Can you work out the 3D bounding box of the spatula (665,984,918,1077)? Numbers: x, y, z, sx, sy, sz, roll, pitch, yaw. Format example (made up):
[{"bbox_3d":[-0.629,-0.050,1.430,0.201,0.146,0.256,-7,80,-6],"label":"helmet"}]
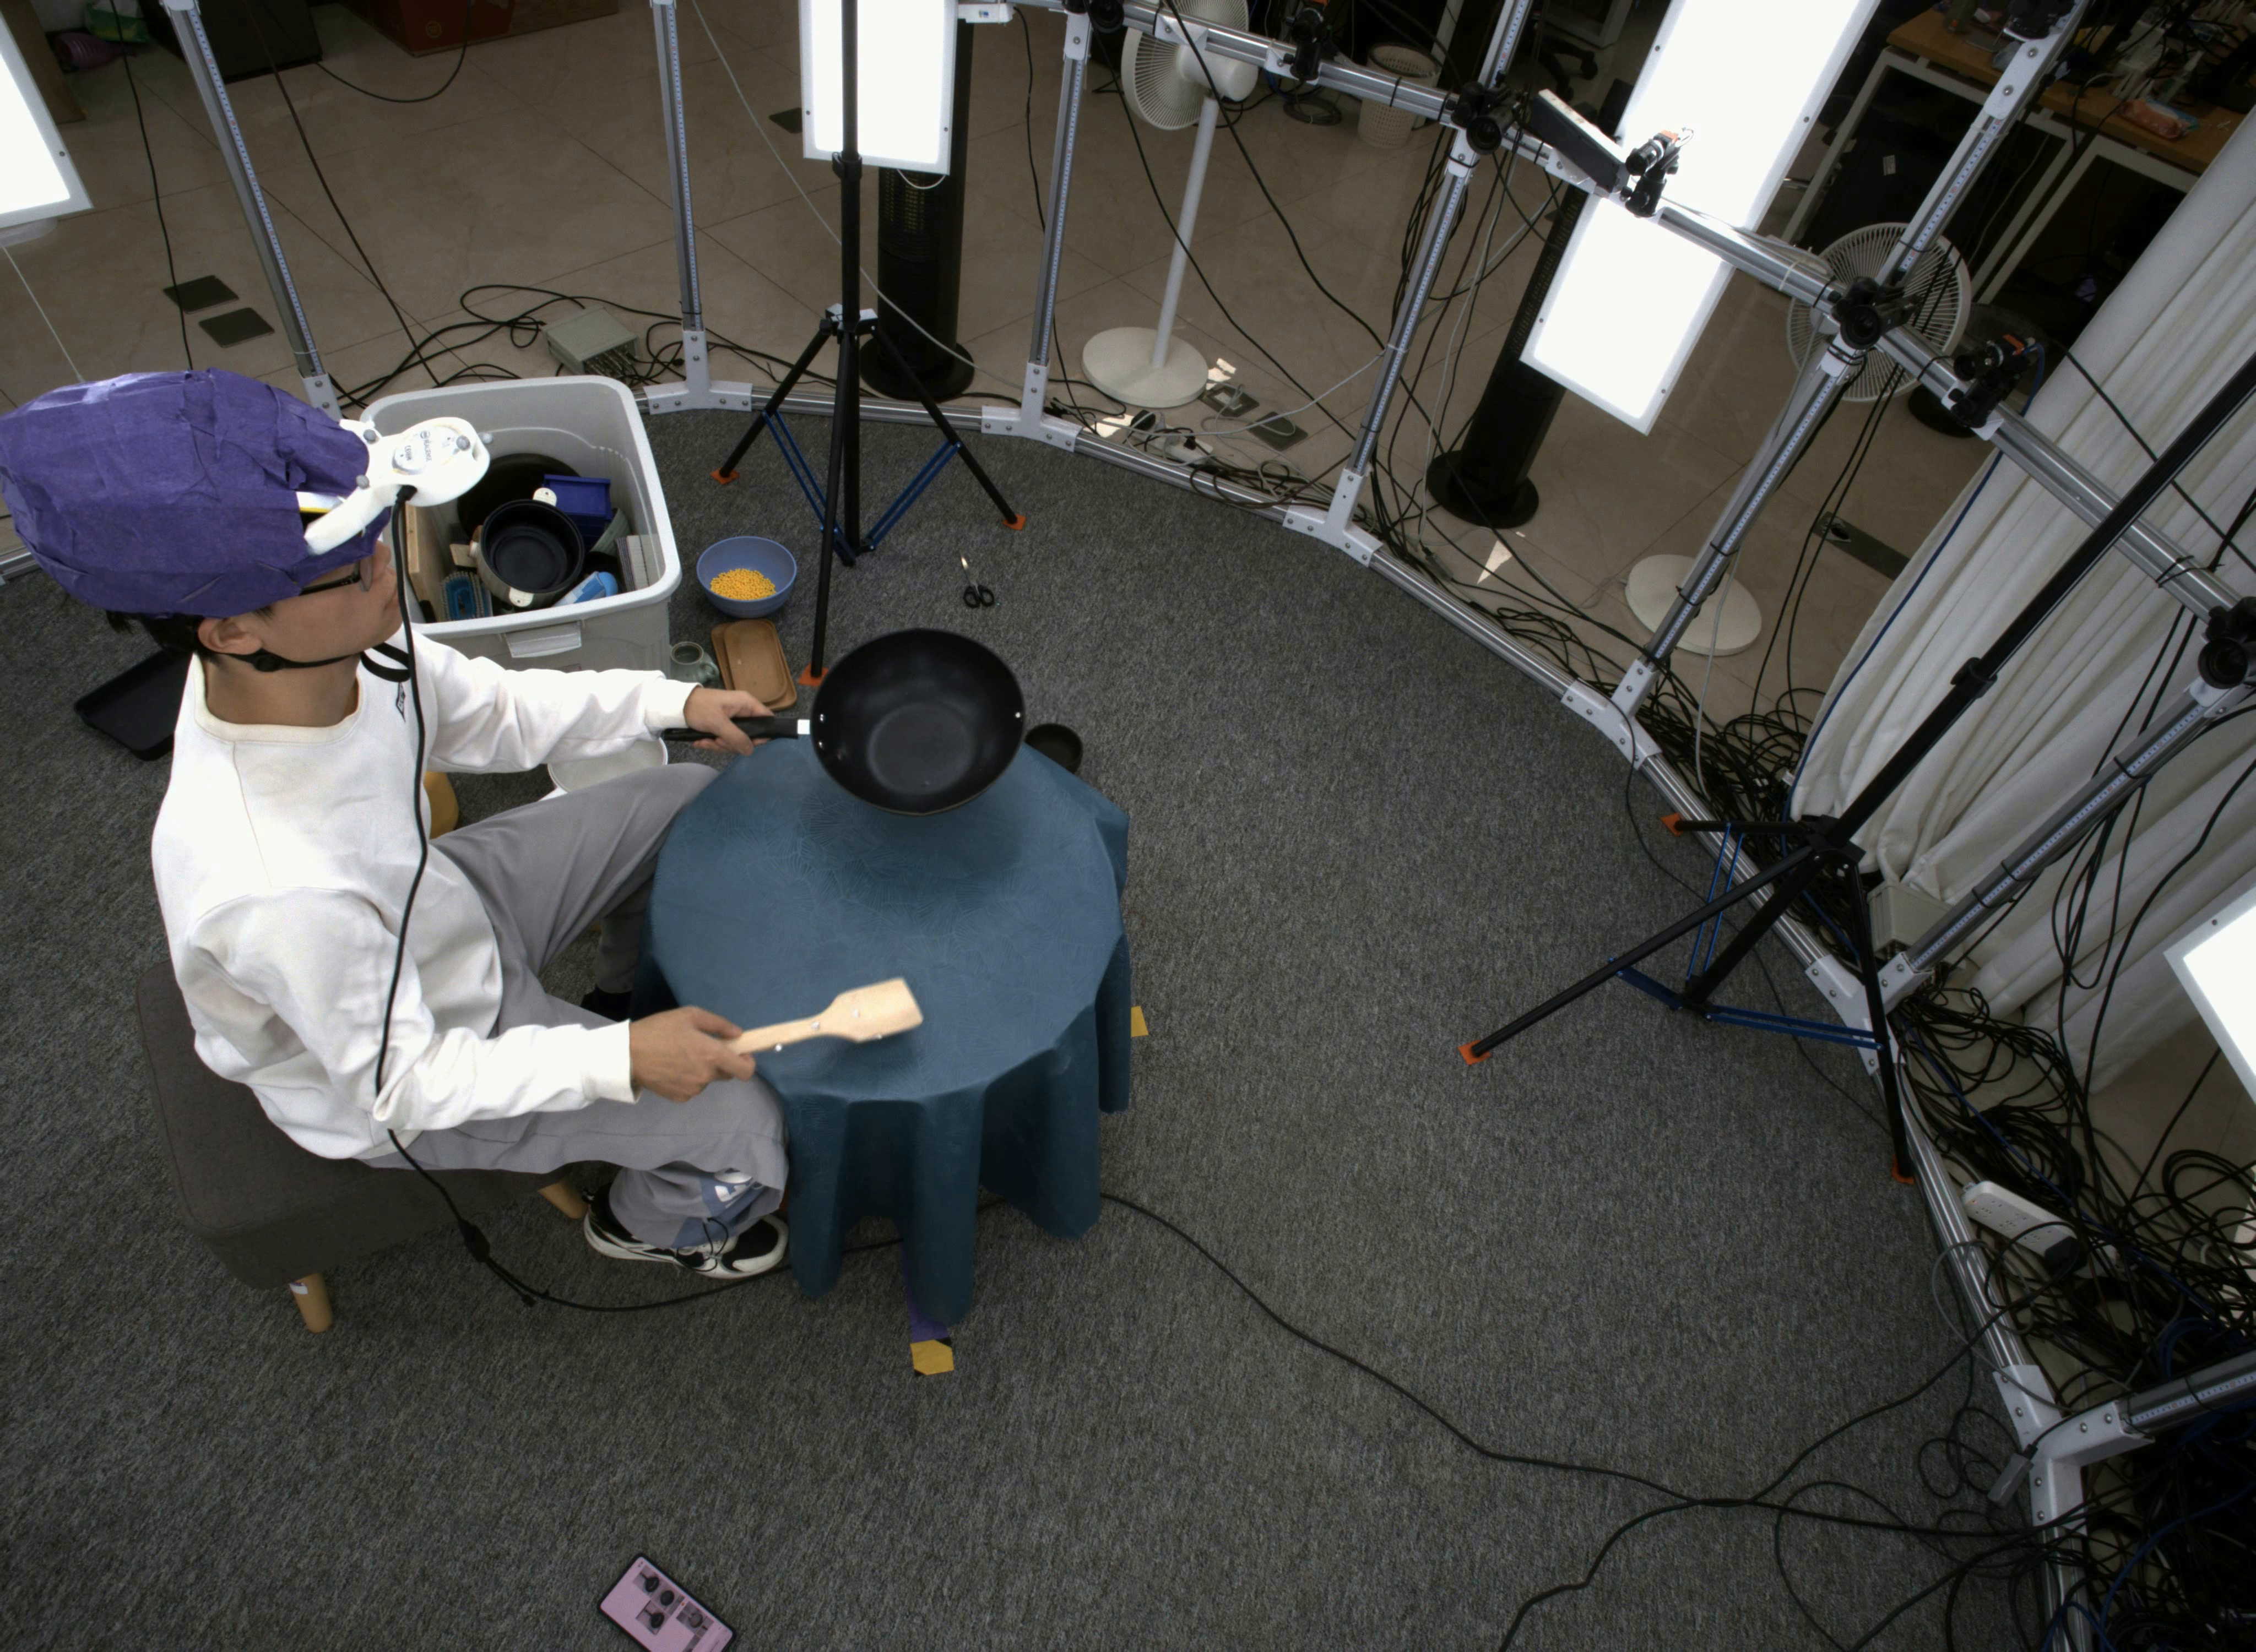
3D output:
[{"bbox_3d":[-0.383,0.238,1.480,0.296,0.011,0.070,-11,54,-34],"label":"spatula"}]

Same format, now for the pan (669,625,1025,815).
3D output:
[{"bbox_3d":[-0.363,-0.120,1.704,0.460,0.089,0.284,-3,63,-6],"label":"pan"}]
